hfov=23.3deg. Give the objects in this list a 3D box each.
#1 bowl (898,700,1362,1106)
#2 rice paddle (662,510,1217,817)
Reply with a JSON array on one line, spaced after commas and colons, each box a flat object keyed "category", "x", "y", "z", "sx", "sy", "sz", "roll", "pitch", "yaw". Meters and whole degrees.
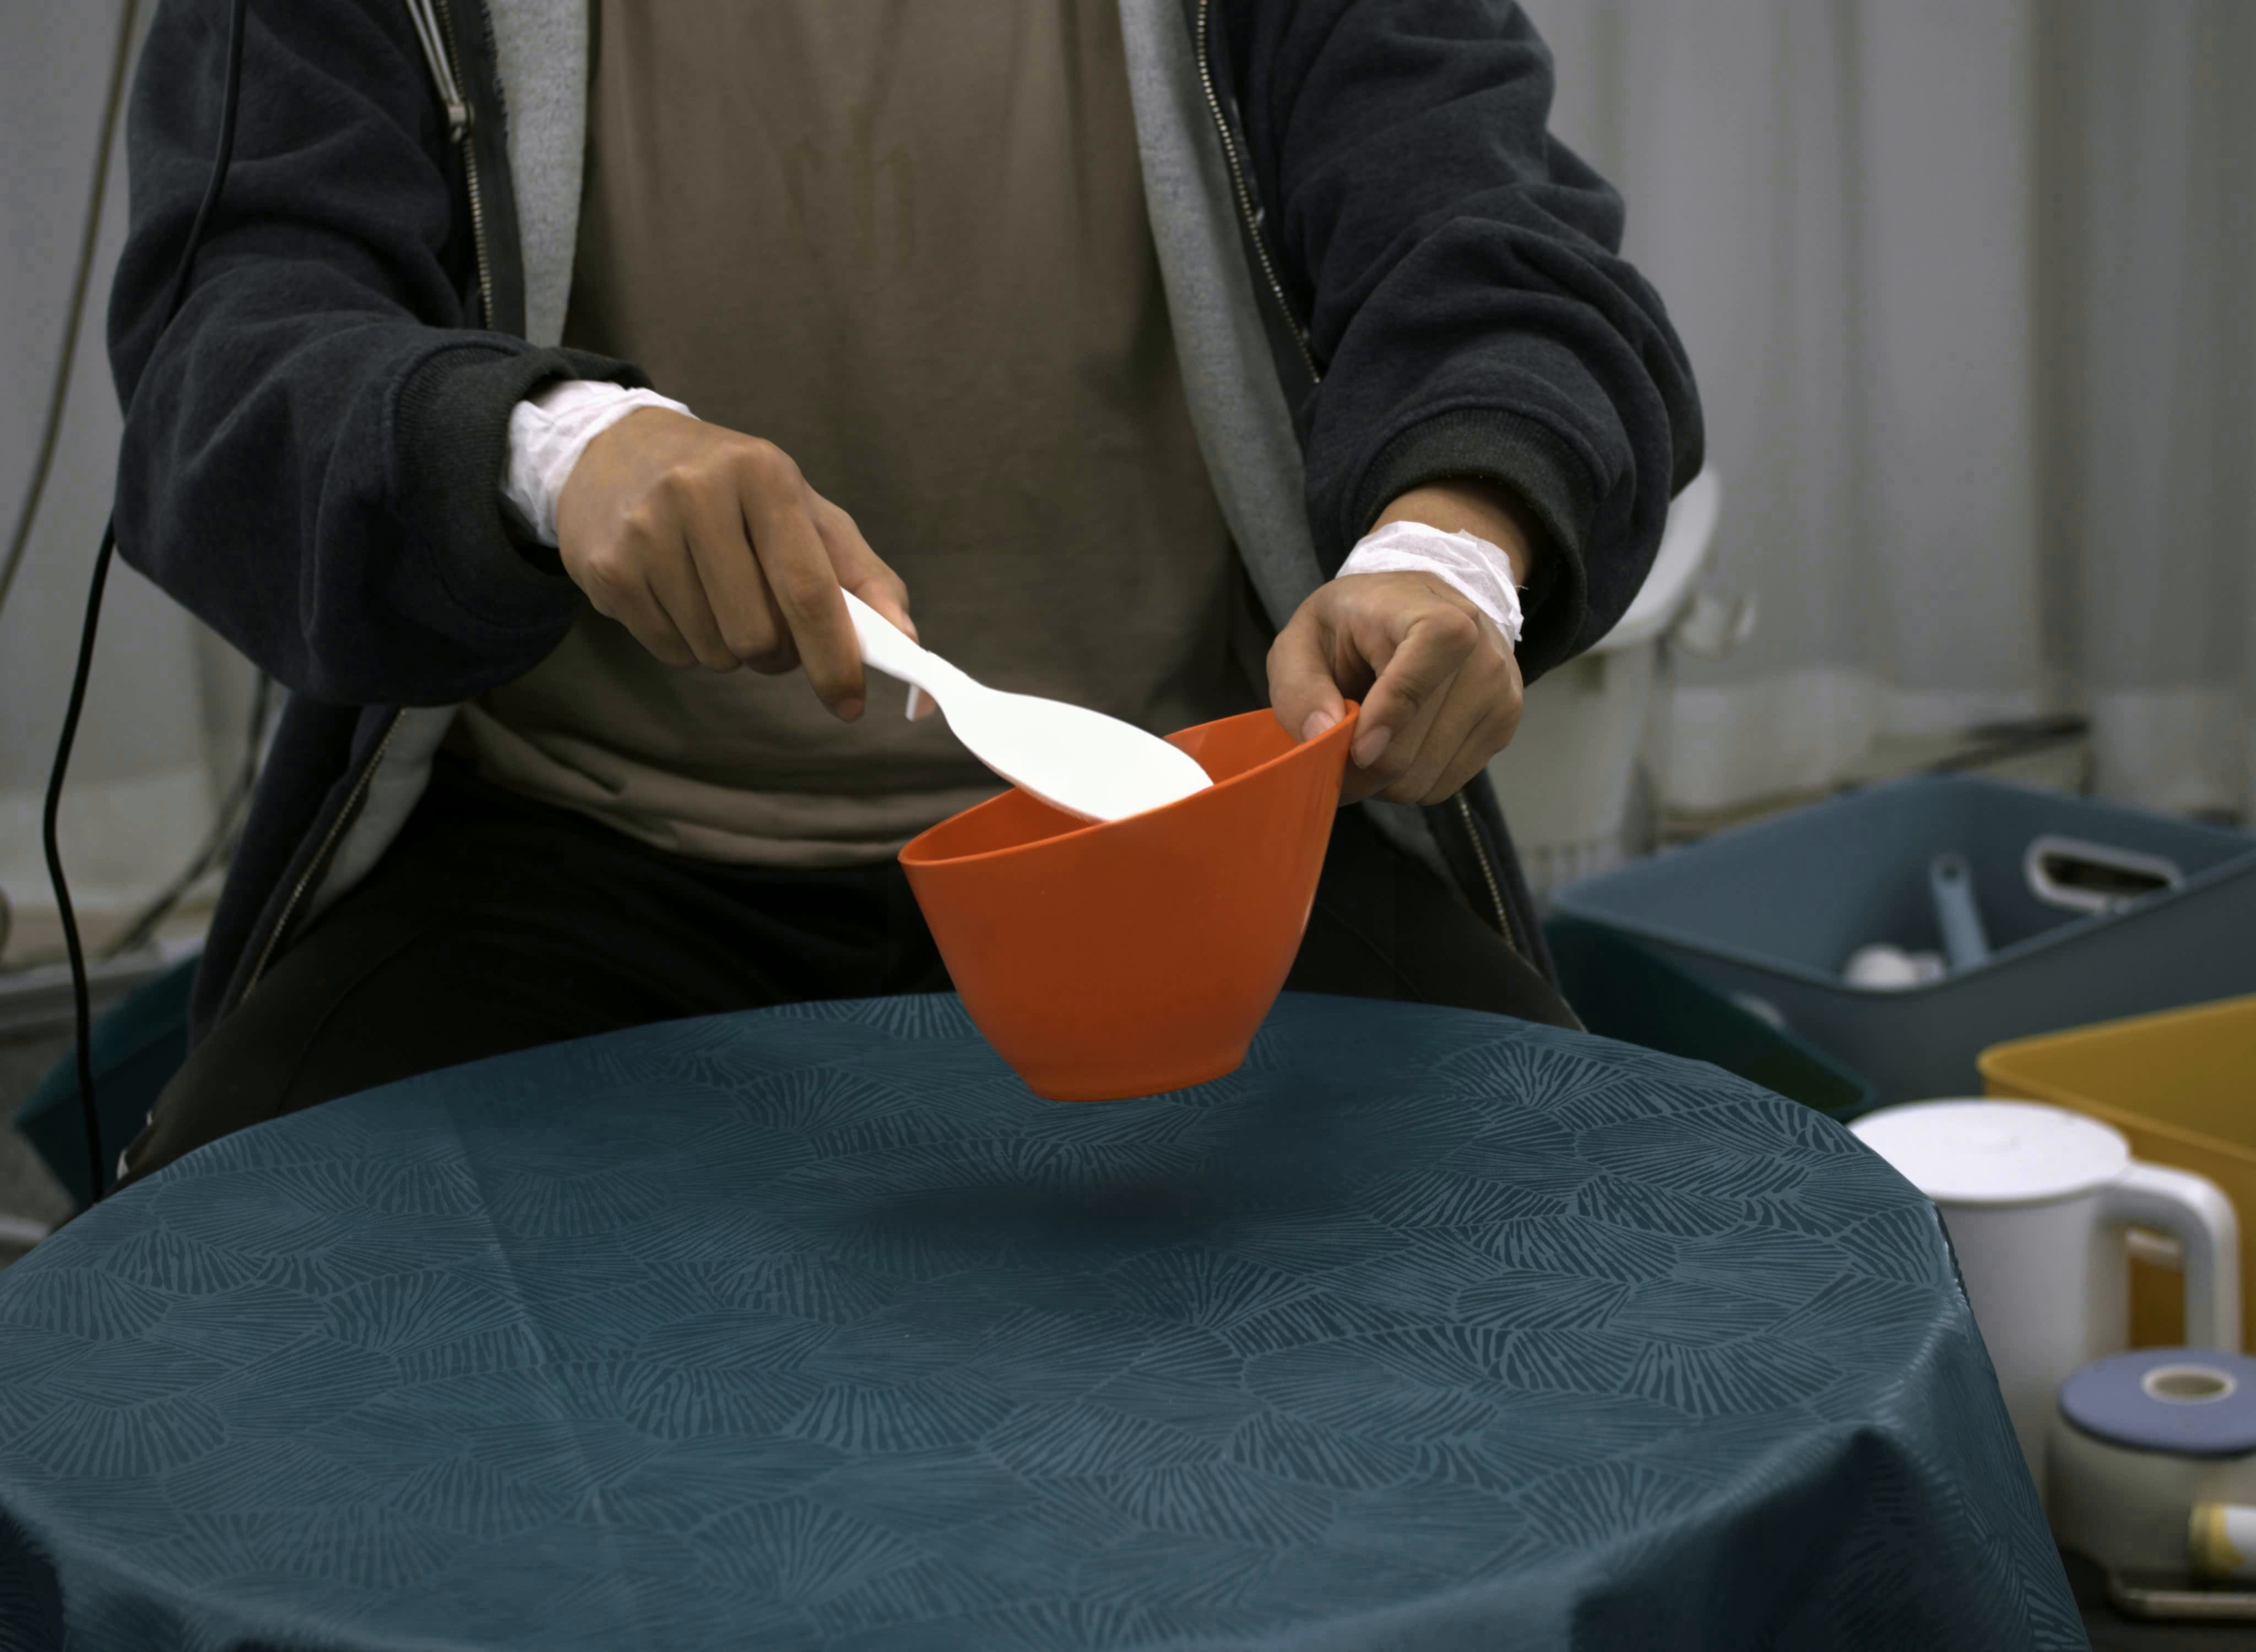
[{"category": "bowl", "x": 0.007, "y": 0.026, "z": 1.677, "sx": 0.147, "sy": 0.104, "sz": 0.148, "roll": -9, "pitch": 10, "yaw": 1}, {"category": "rice paddle", "x": -0.058, "y": -0.047, "z": 1.716, "sx": 0.206, "sy": 0.029, "sz": 0.069, "roll": 27, "pitch": 29, "yaw": 27}]
